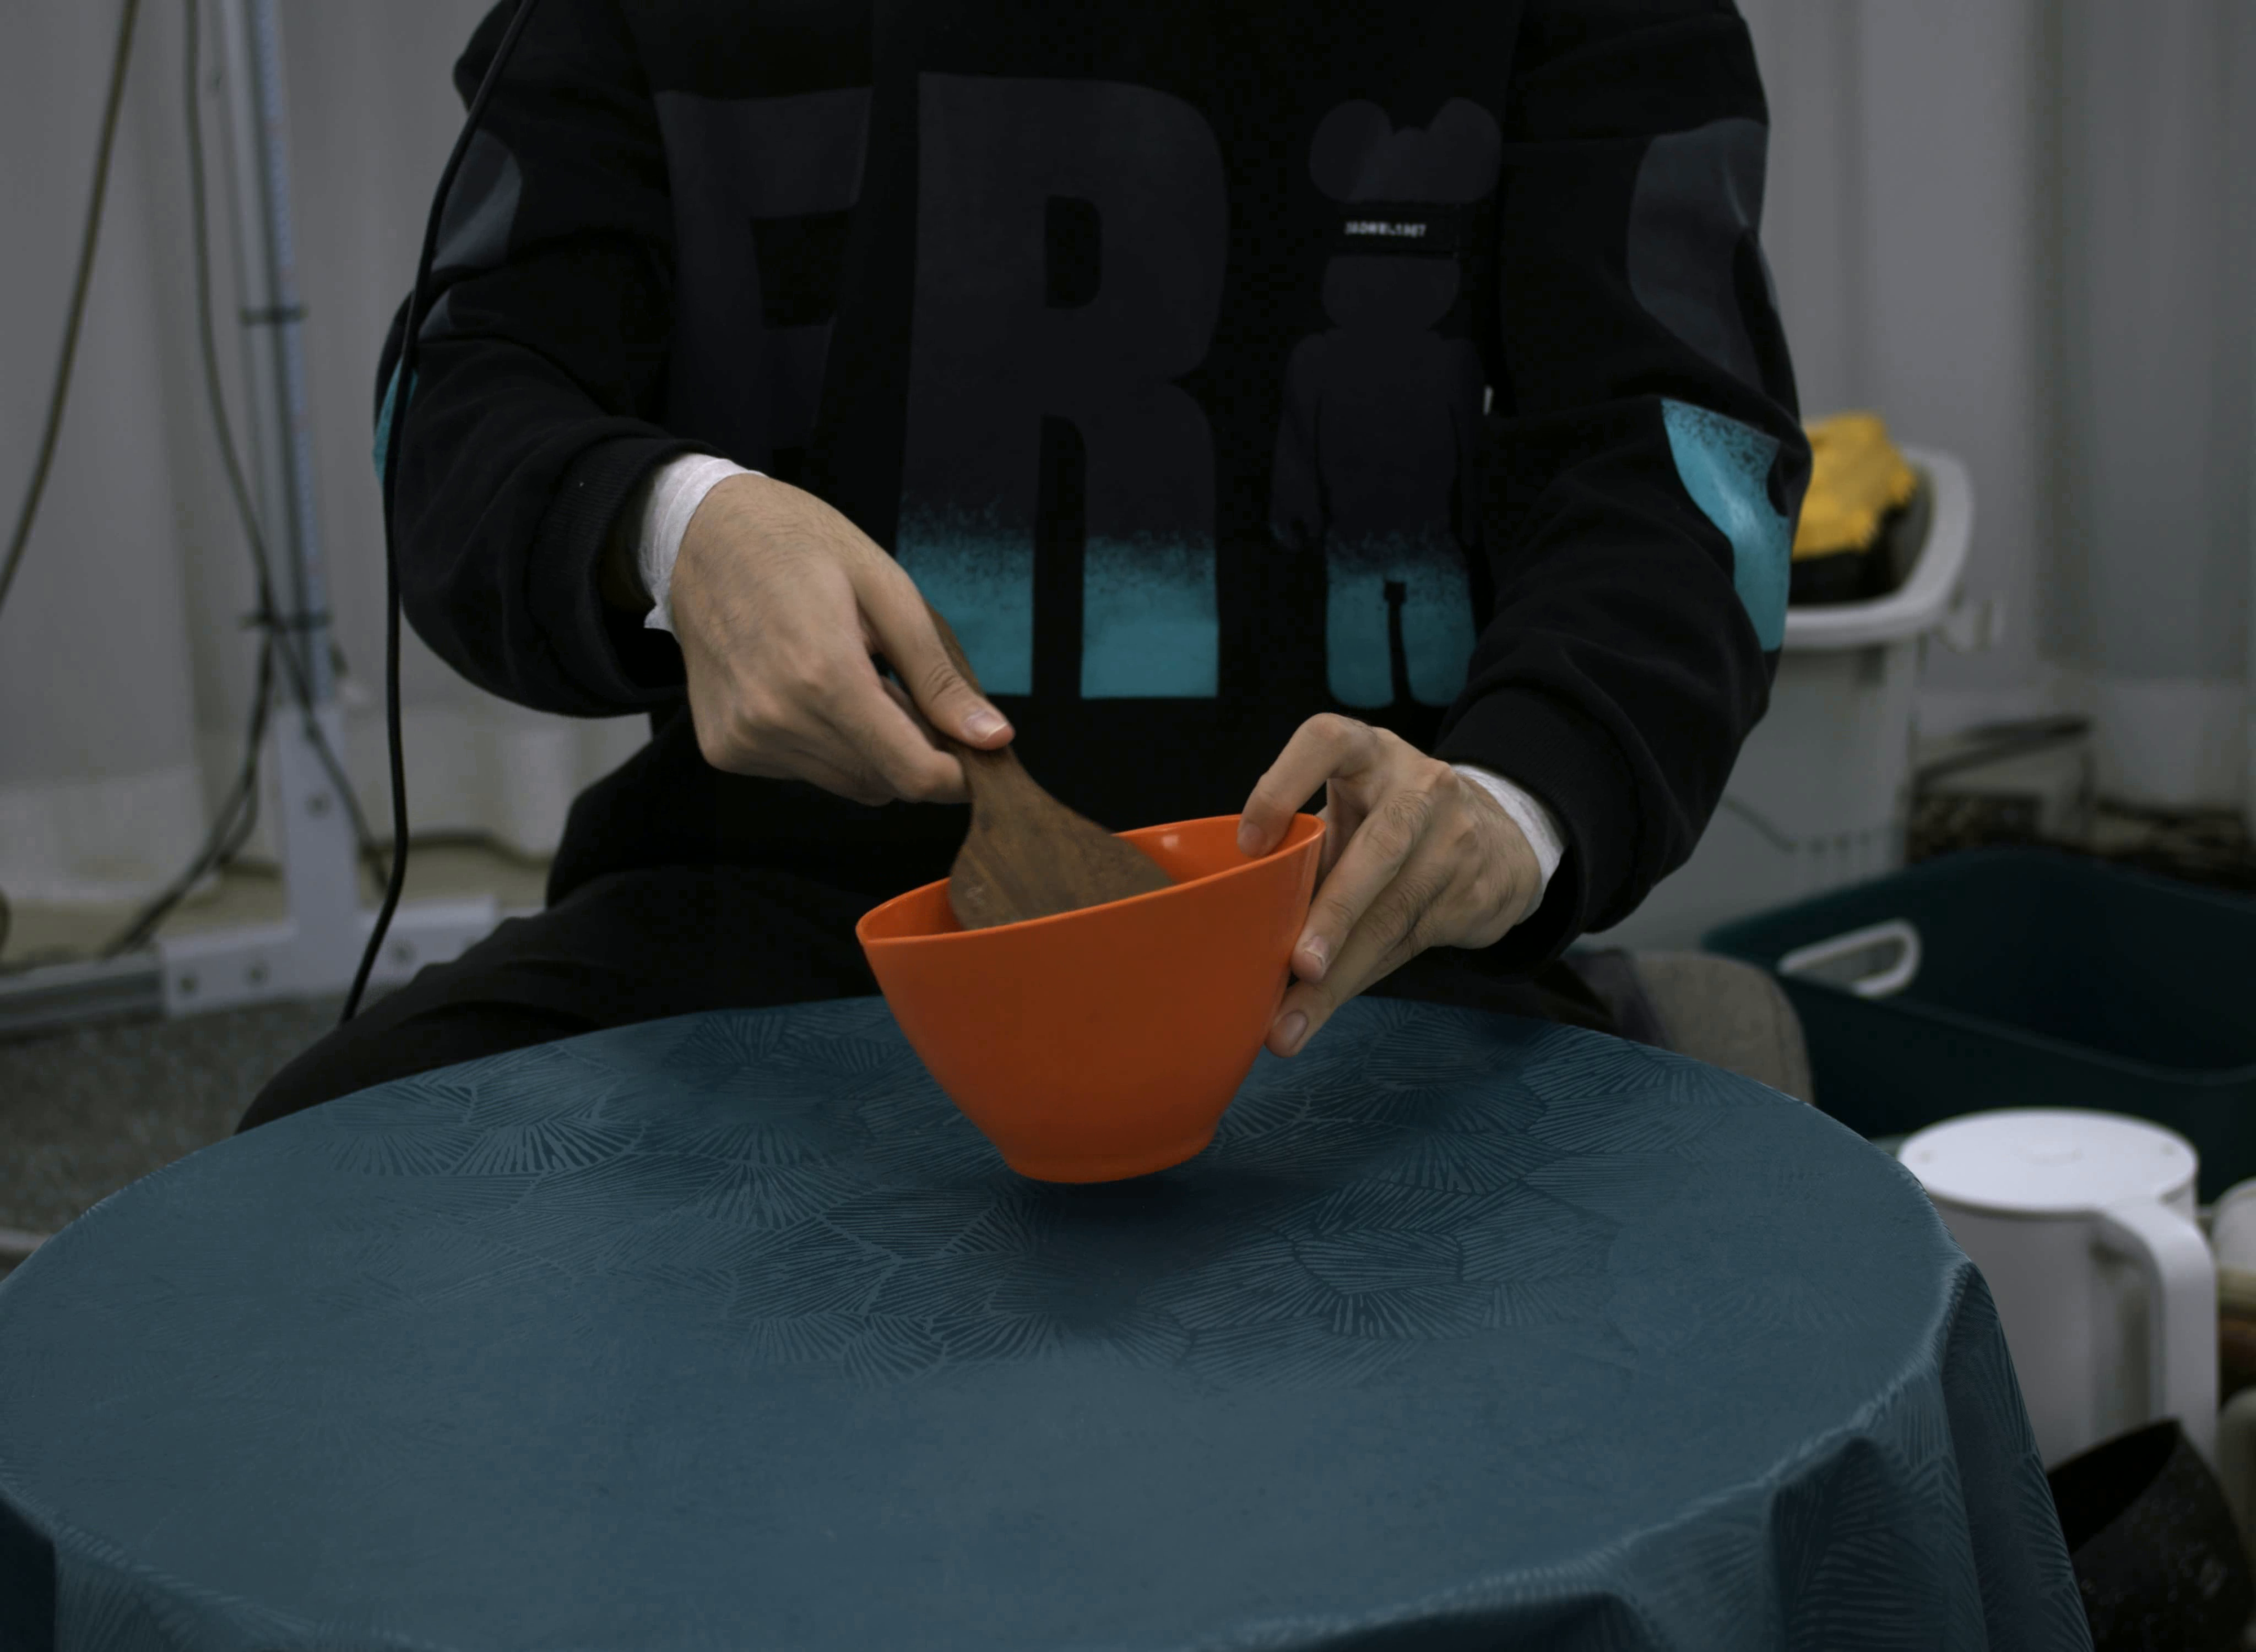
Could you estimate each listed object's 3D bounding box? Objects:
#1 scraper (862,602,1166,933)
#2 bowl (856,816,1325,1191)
[{"bbox_3d":[-0.045,-0.016,1.768,0.075,0.011,0.214,-6,35,-18],"label":"scraper"},{"bbox_3d":[-0.006,0.055,1.686,0.147,0.104,0.149,-8,15,2],"label":"bowl"}]
